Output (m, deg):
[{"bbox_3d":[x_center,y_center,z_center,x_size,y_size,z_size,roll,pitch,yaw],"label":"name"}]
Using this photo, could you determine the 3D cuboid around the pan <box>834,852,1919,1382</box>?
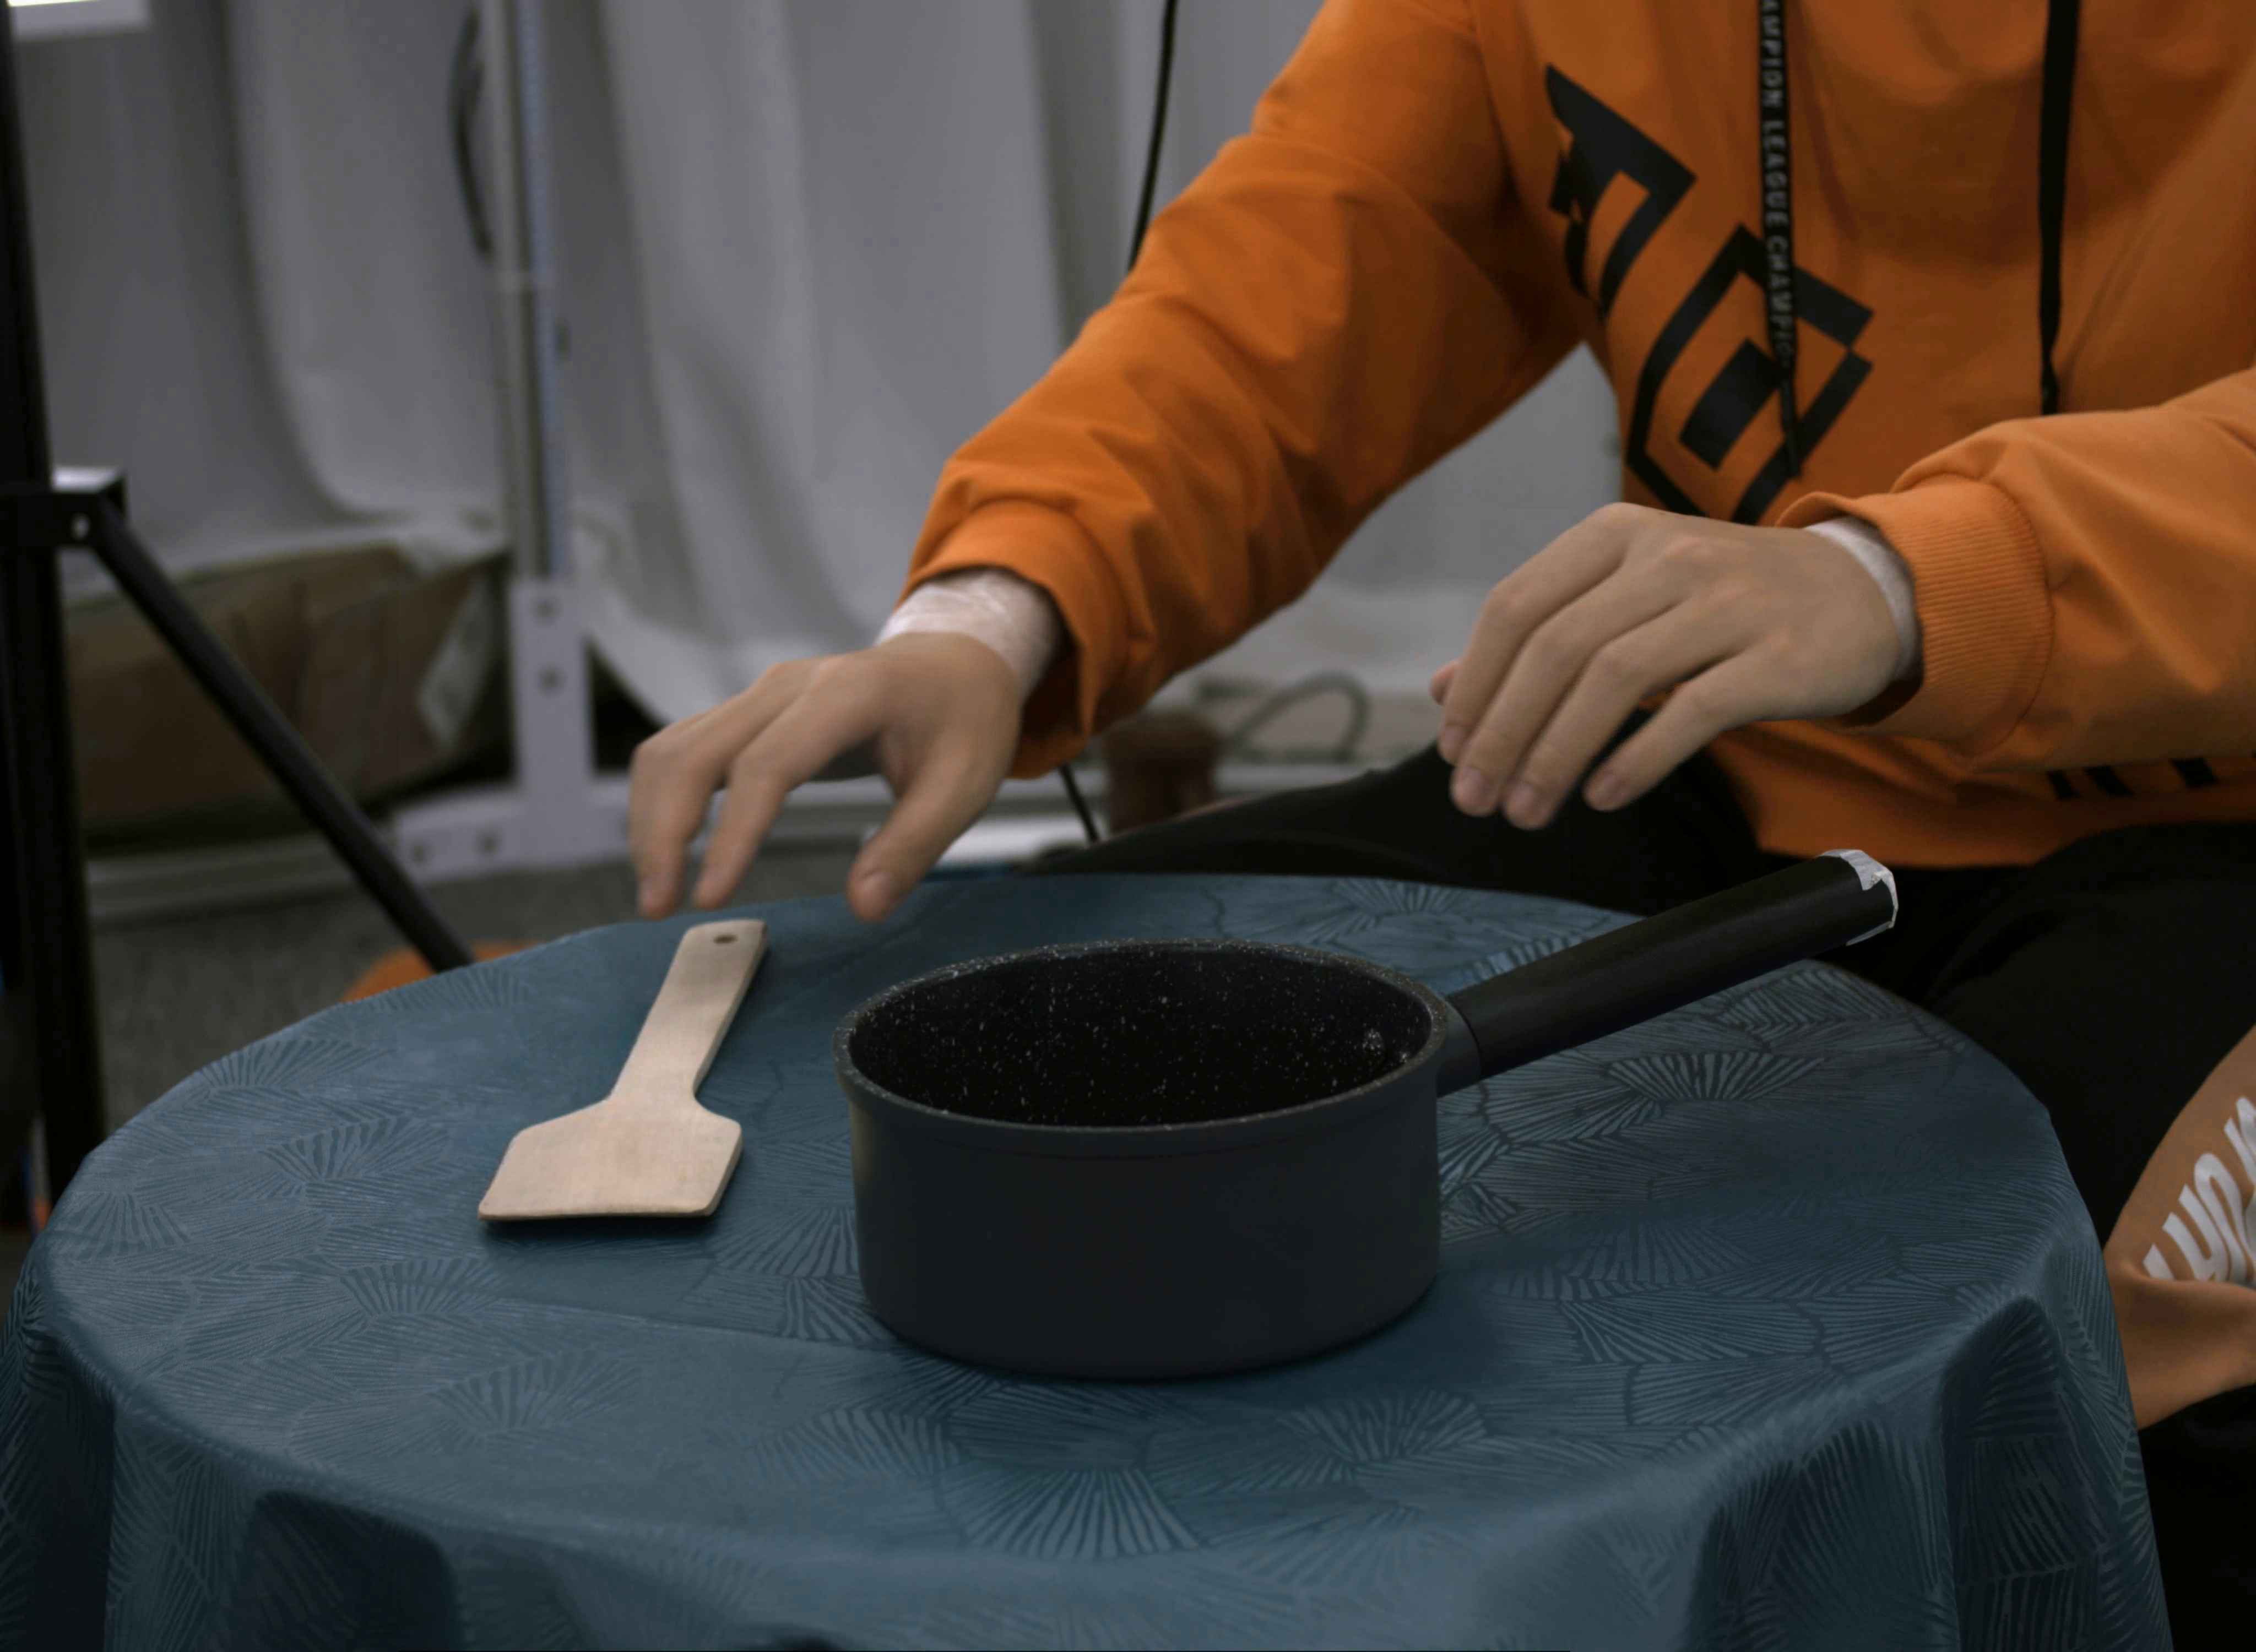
[{"bbox_3d":[0.077,0.077,1.501,0.323,0.086,0.175,-10,18,-20],"label":"pan"}]

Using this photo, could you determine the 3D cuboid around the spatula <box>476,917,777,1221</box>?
[{"bbox_3d":[-0.145,0.075,1.683,0.072,0.010,0.293,-4,16,6],"label":"spatula"}]
